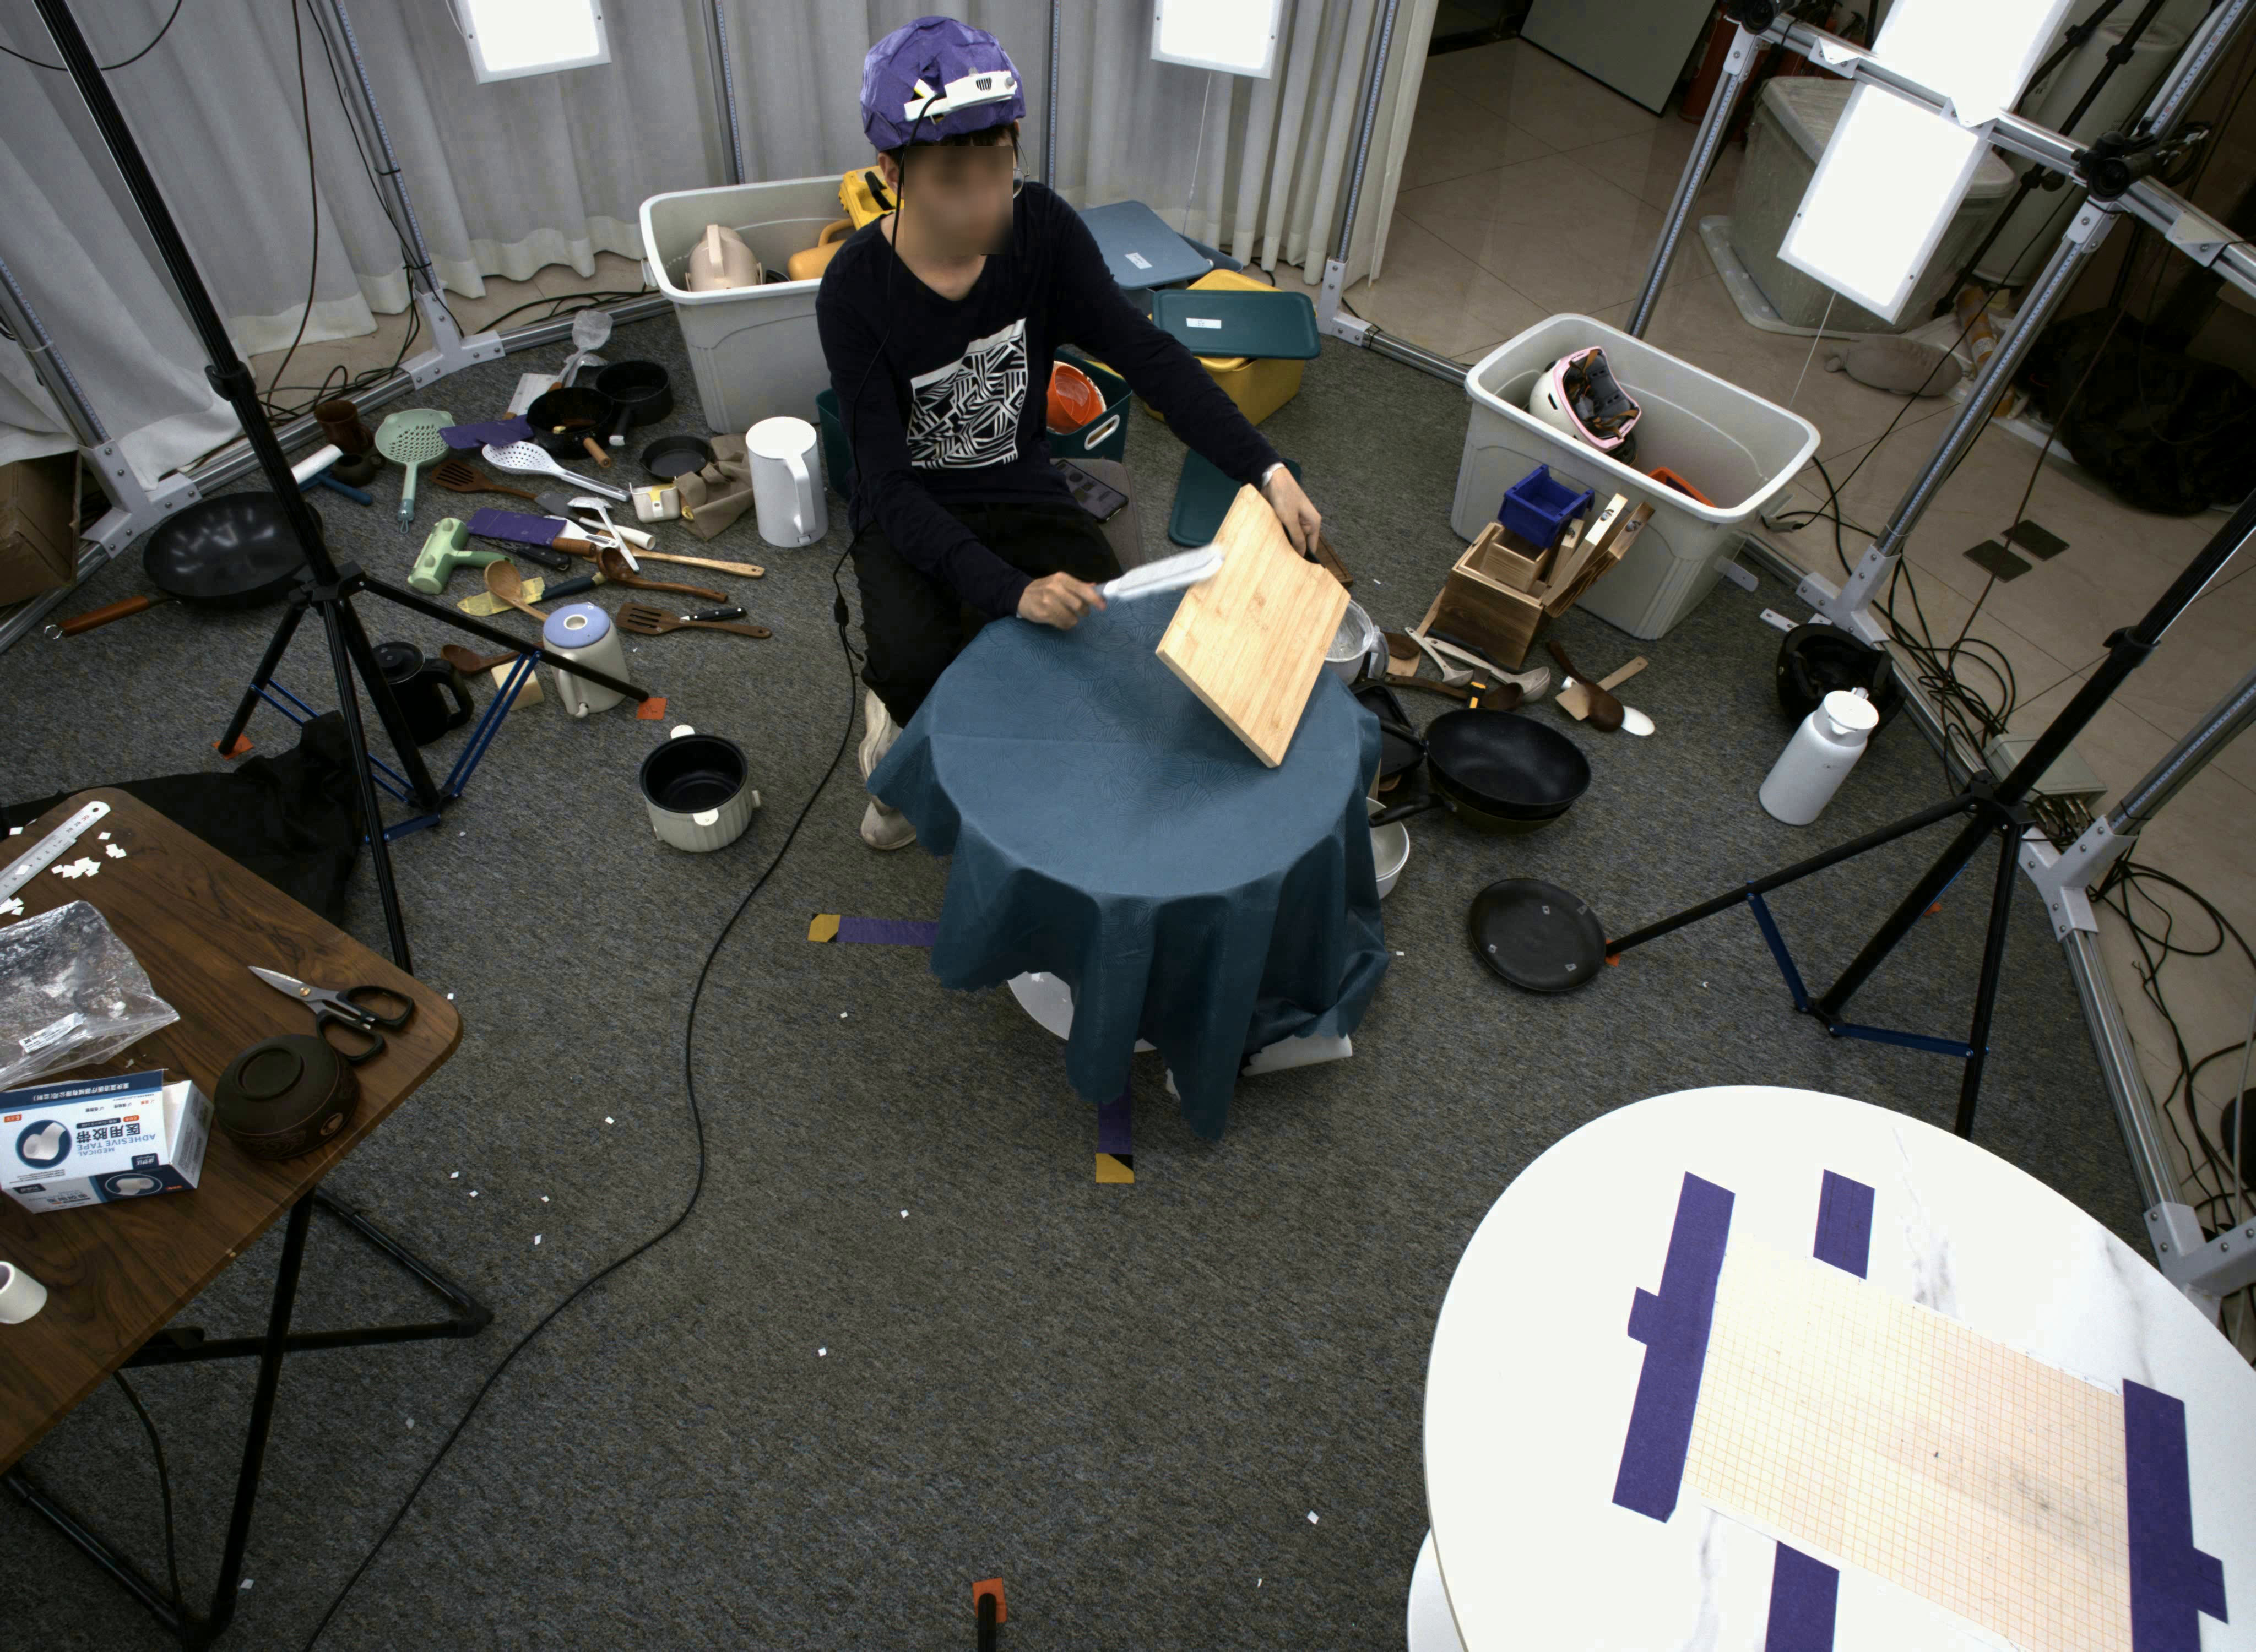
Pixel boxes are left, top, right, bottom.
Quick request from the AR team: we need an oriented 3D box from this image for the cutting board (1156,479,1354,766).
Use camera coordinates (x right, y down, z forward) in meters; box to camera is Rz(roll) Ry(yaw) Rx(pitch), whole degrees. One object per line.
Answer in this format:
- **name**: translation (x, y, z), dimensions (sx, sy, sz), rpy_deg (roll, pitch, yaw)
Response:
- **cutting board**: translation (0.186, -0.287, 1.792), dimensions (0.247, 0.023, 0.355), rpy_deg (42, 55, -24)

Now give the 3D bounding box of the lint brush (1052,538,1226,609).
- **lint brush**: translation (0.009, -0.348, 1.803), dimensions (0.309, 0.020, 0.061), rpy_deg (-8, 49, 40)
